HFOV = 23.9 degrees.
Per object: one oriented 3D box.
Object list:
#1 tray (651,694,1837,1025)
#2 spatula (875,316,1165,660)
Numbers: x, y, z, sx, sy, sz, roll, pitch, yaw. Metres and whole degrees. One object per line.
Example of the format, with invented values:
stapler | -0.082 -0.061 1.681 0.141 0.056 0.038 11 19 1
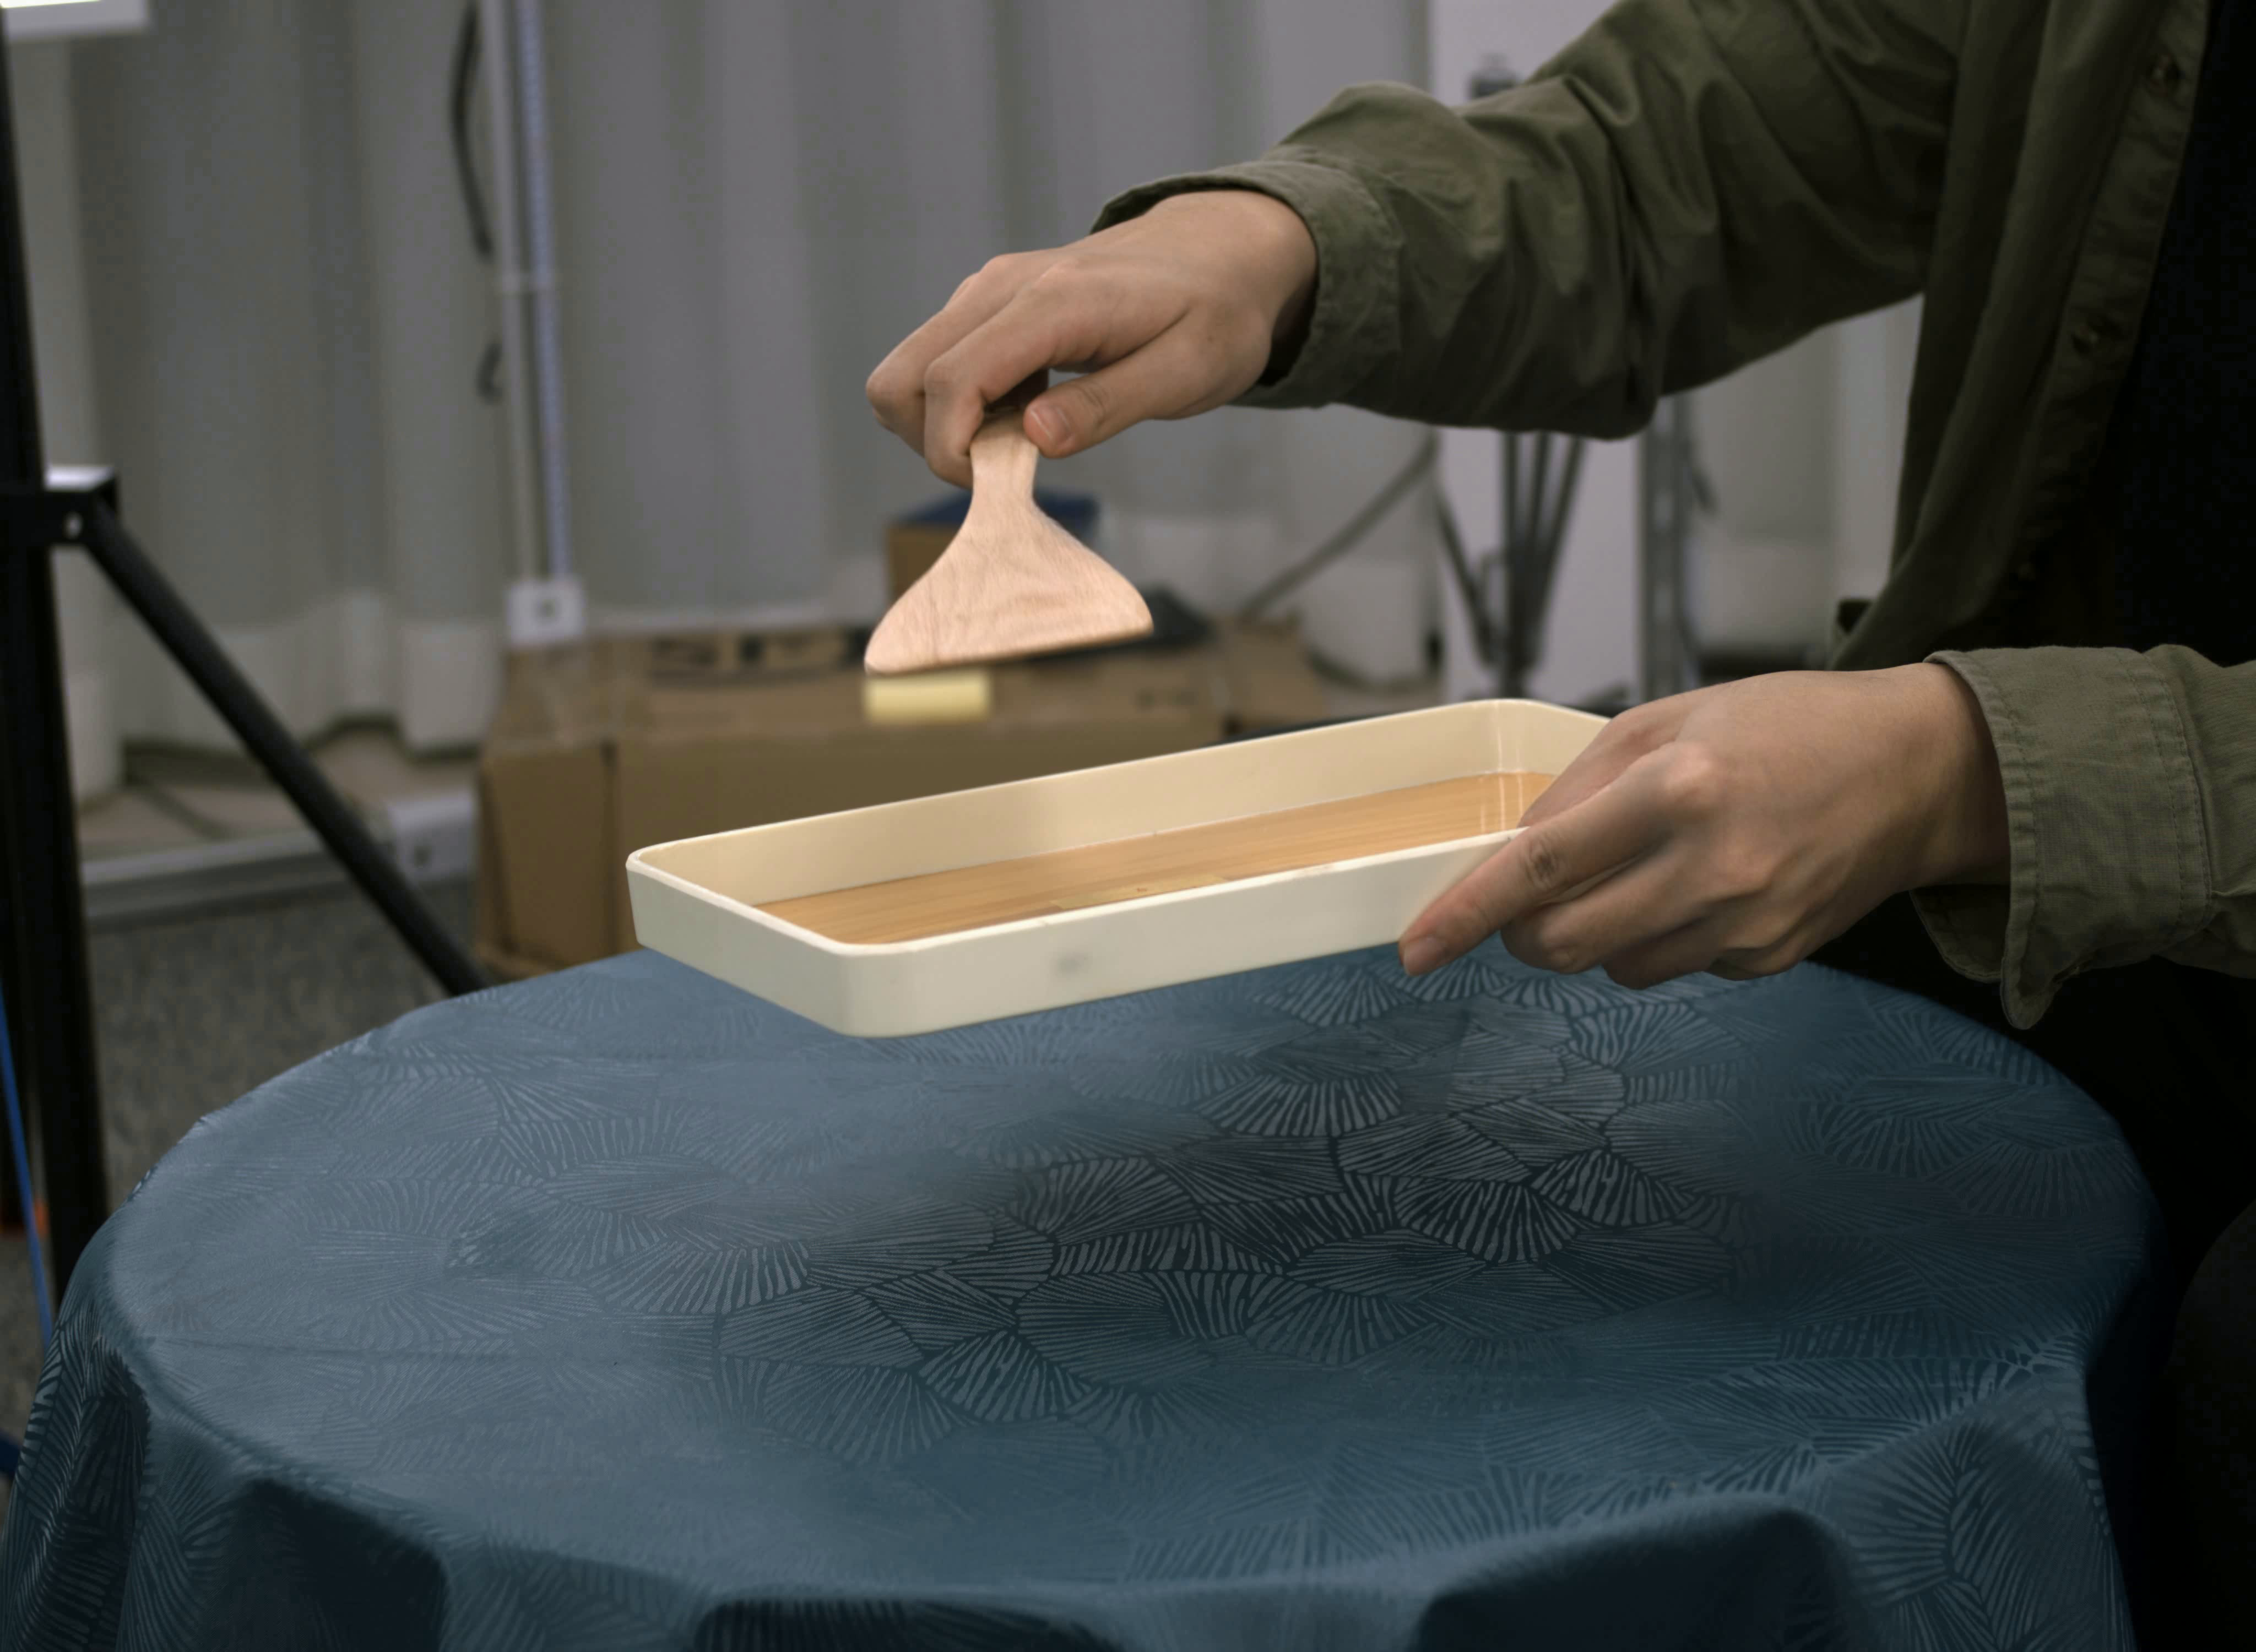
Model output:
tray | 0.031 0.006 1.513 0.294 0.027 0.195 -9 12 -22
spatula | -0.035 -0.105 1.577 0.079 0.016 0.330 -7 22 0
